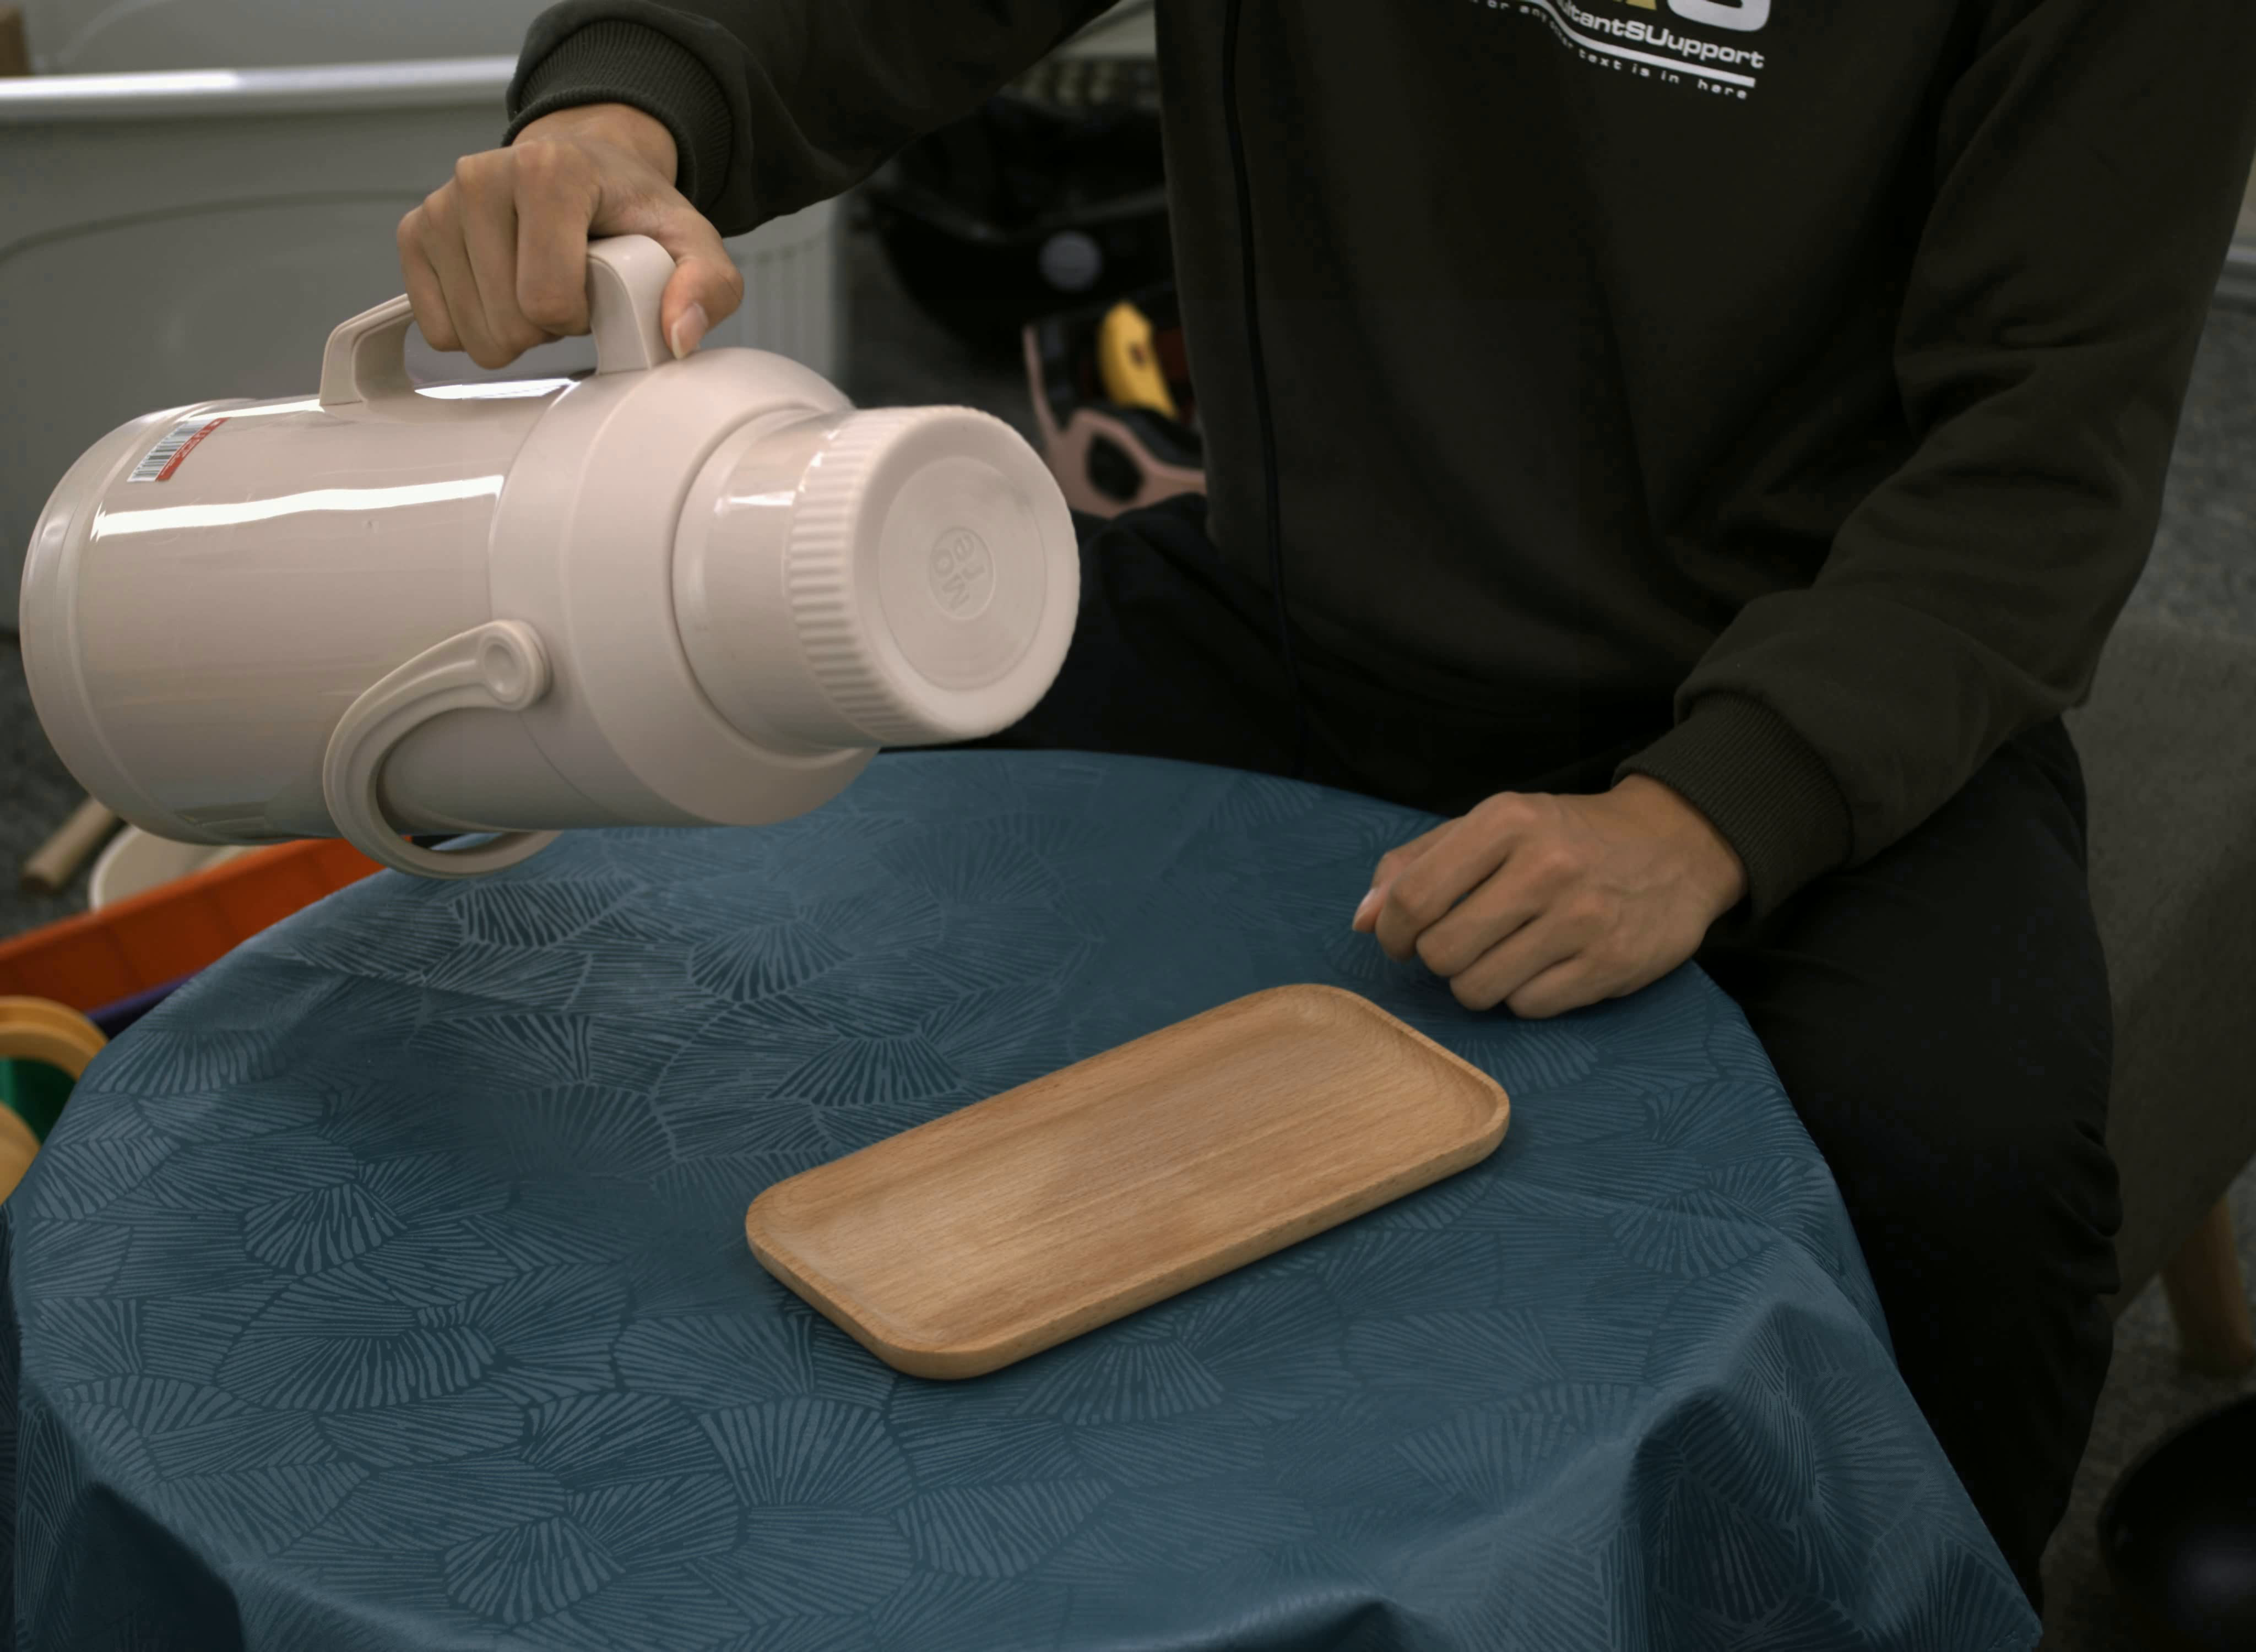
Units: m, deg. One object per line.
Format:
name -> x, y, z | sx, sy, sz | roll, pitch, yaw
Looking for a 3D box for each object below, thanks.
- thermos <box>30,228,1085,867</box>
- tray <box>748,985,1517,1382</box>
thermos -> -0.193, -0.090, 1.889 | 0.402, 0.206, 0.177 | -2, 16, 45
tray -> 0.003, 0.116, 1.858 | 0.253, 0.022, 0.131 | -19, 34, -30
